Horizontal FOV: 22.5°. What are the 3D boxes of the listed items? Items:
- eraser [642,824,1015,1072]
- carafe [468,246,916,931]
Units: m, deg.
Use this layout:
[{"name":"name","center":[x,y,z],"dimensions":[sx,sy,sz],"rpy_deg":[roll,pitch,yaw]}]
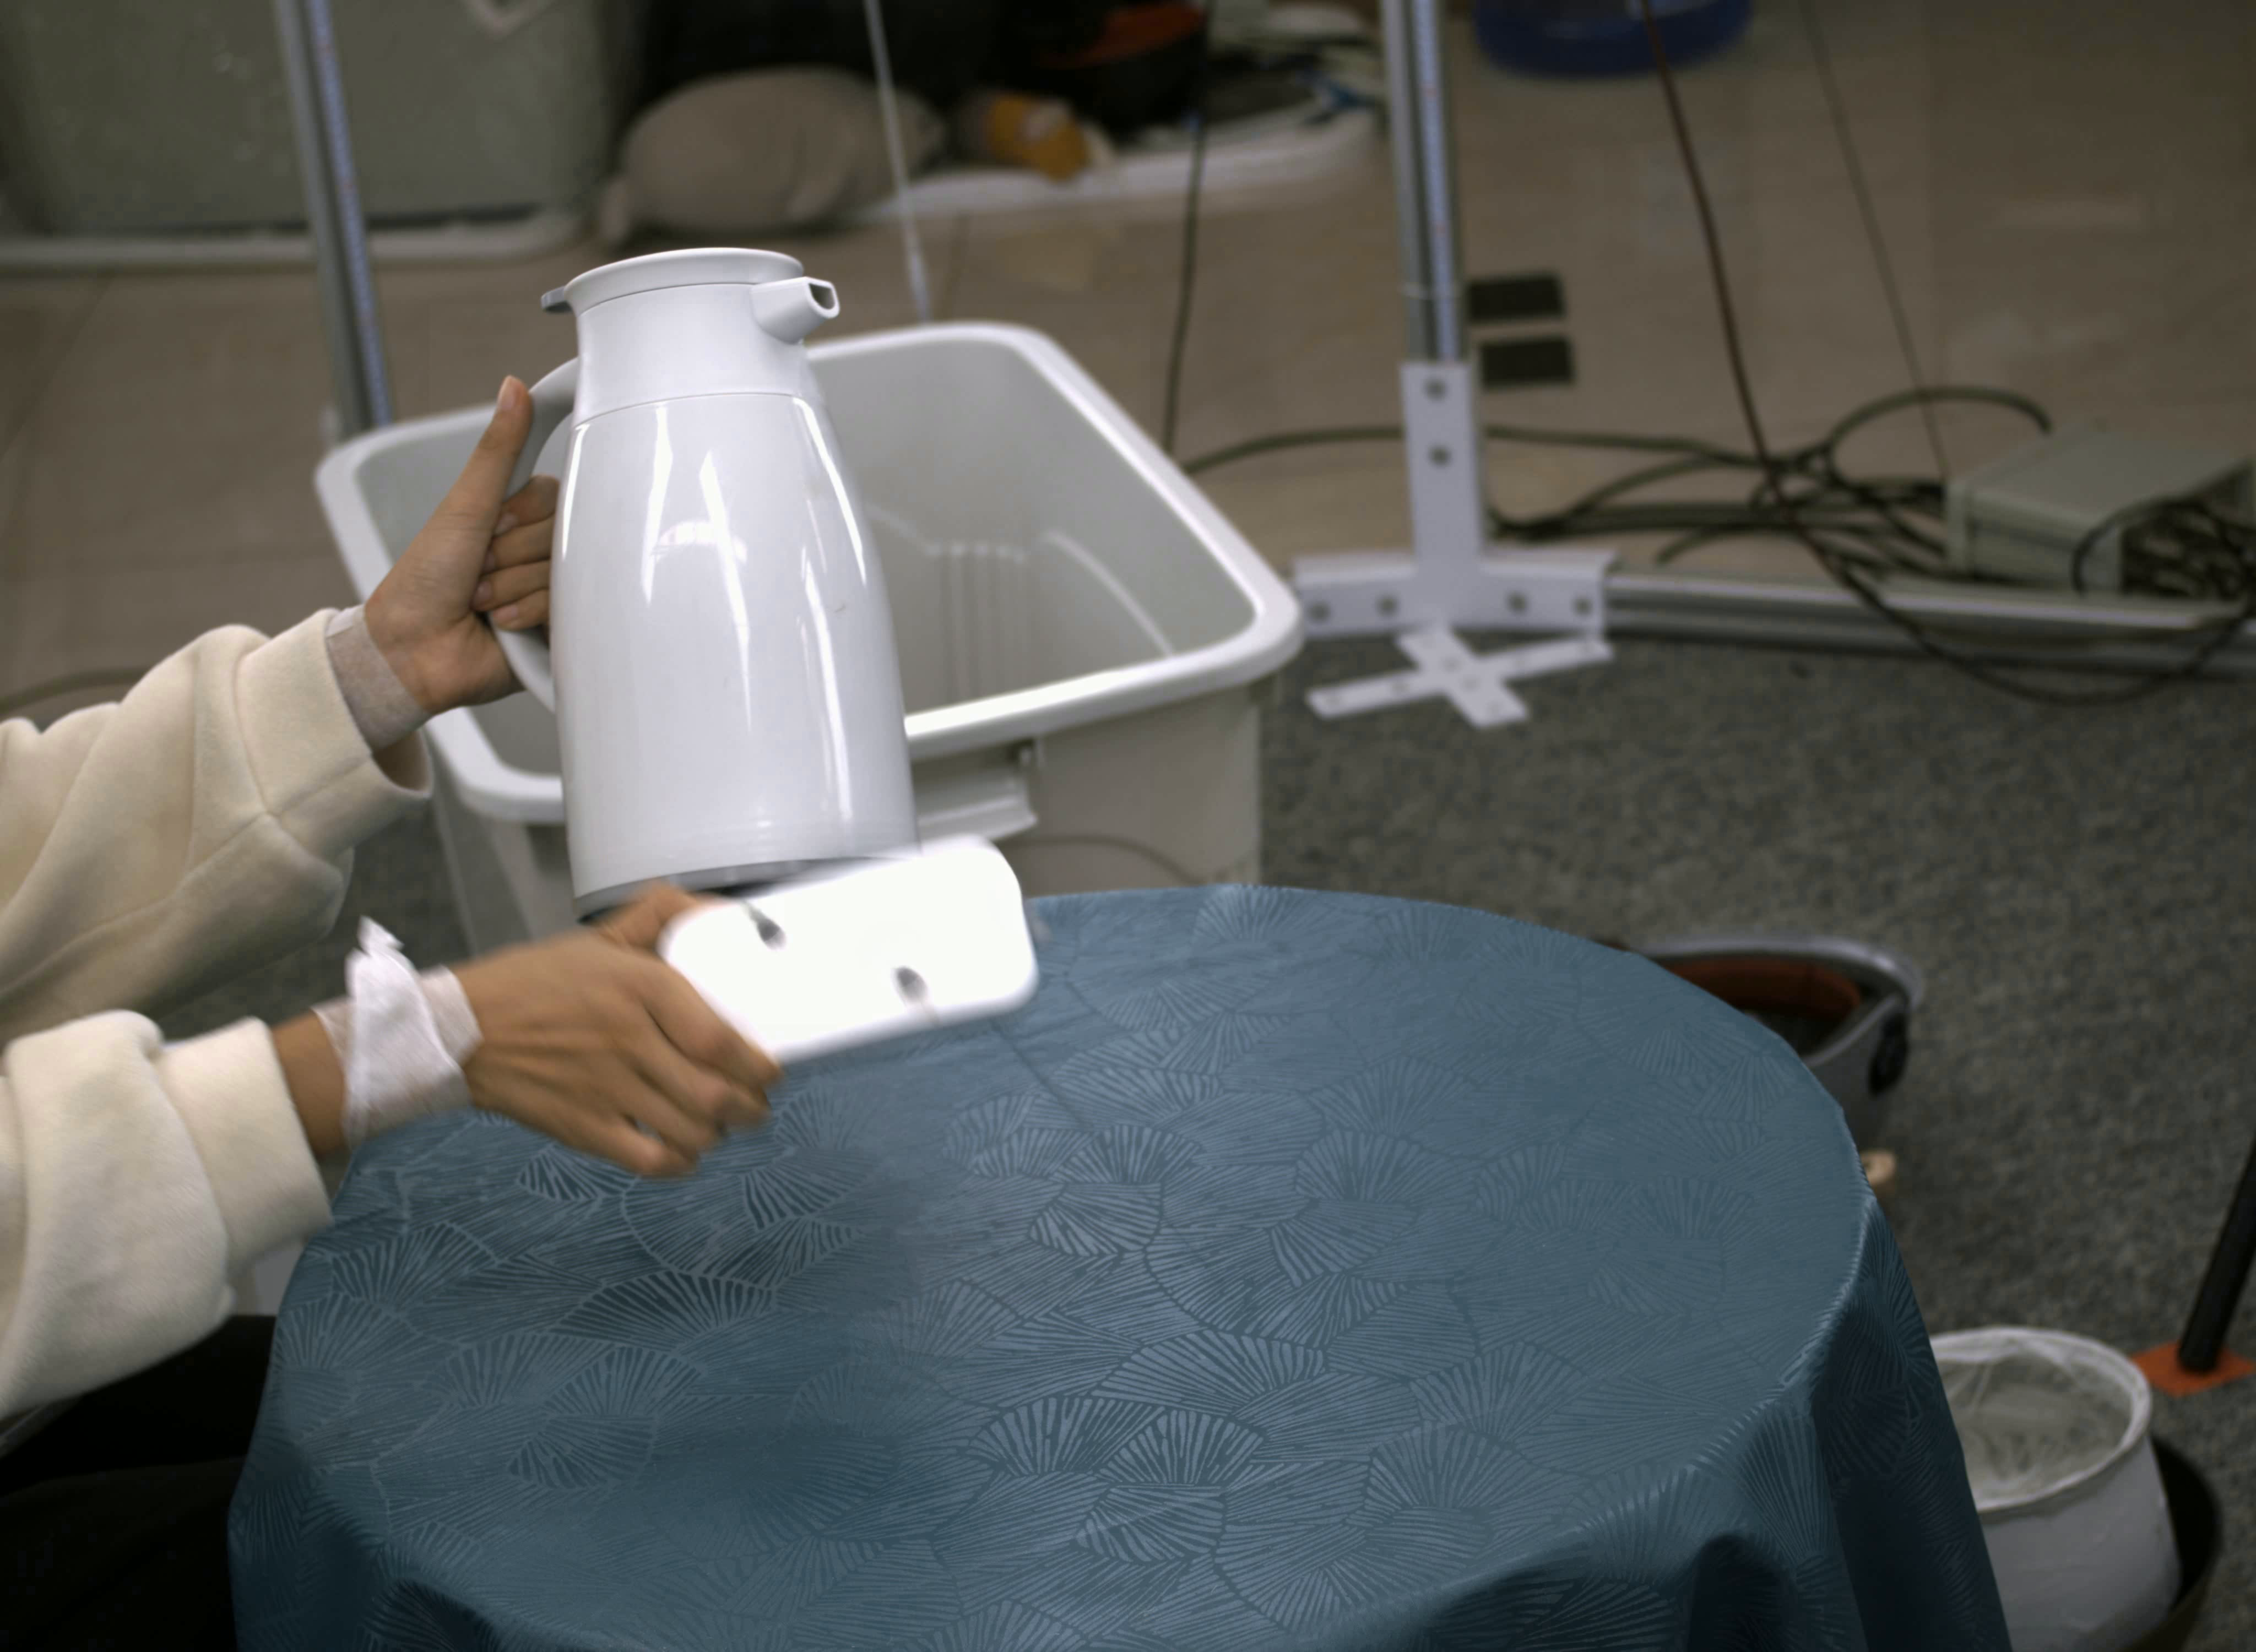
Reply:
[{"name":"eraser","center":[-0.106,0.042,2.013],"dimensions":[0.131,0.035,0.062],"rpy_deg":[-16,68,5]},{"name":"carafe","center":[-0.174,-0.089,2.134],"dimensions":[0.168,0.248,0.132],"rpy_deg":[-11,-7,28]}]
